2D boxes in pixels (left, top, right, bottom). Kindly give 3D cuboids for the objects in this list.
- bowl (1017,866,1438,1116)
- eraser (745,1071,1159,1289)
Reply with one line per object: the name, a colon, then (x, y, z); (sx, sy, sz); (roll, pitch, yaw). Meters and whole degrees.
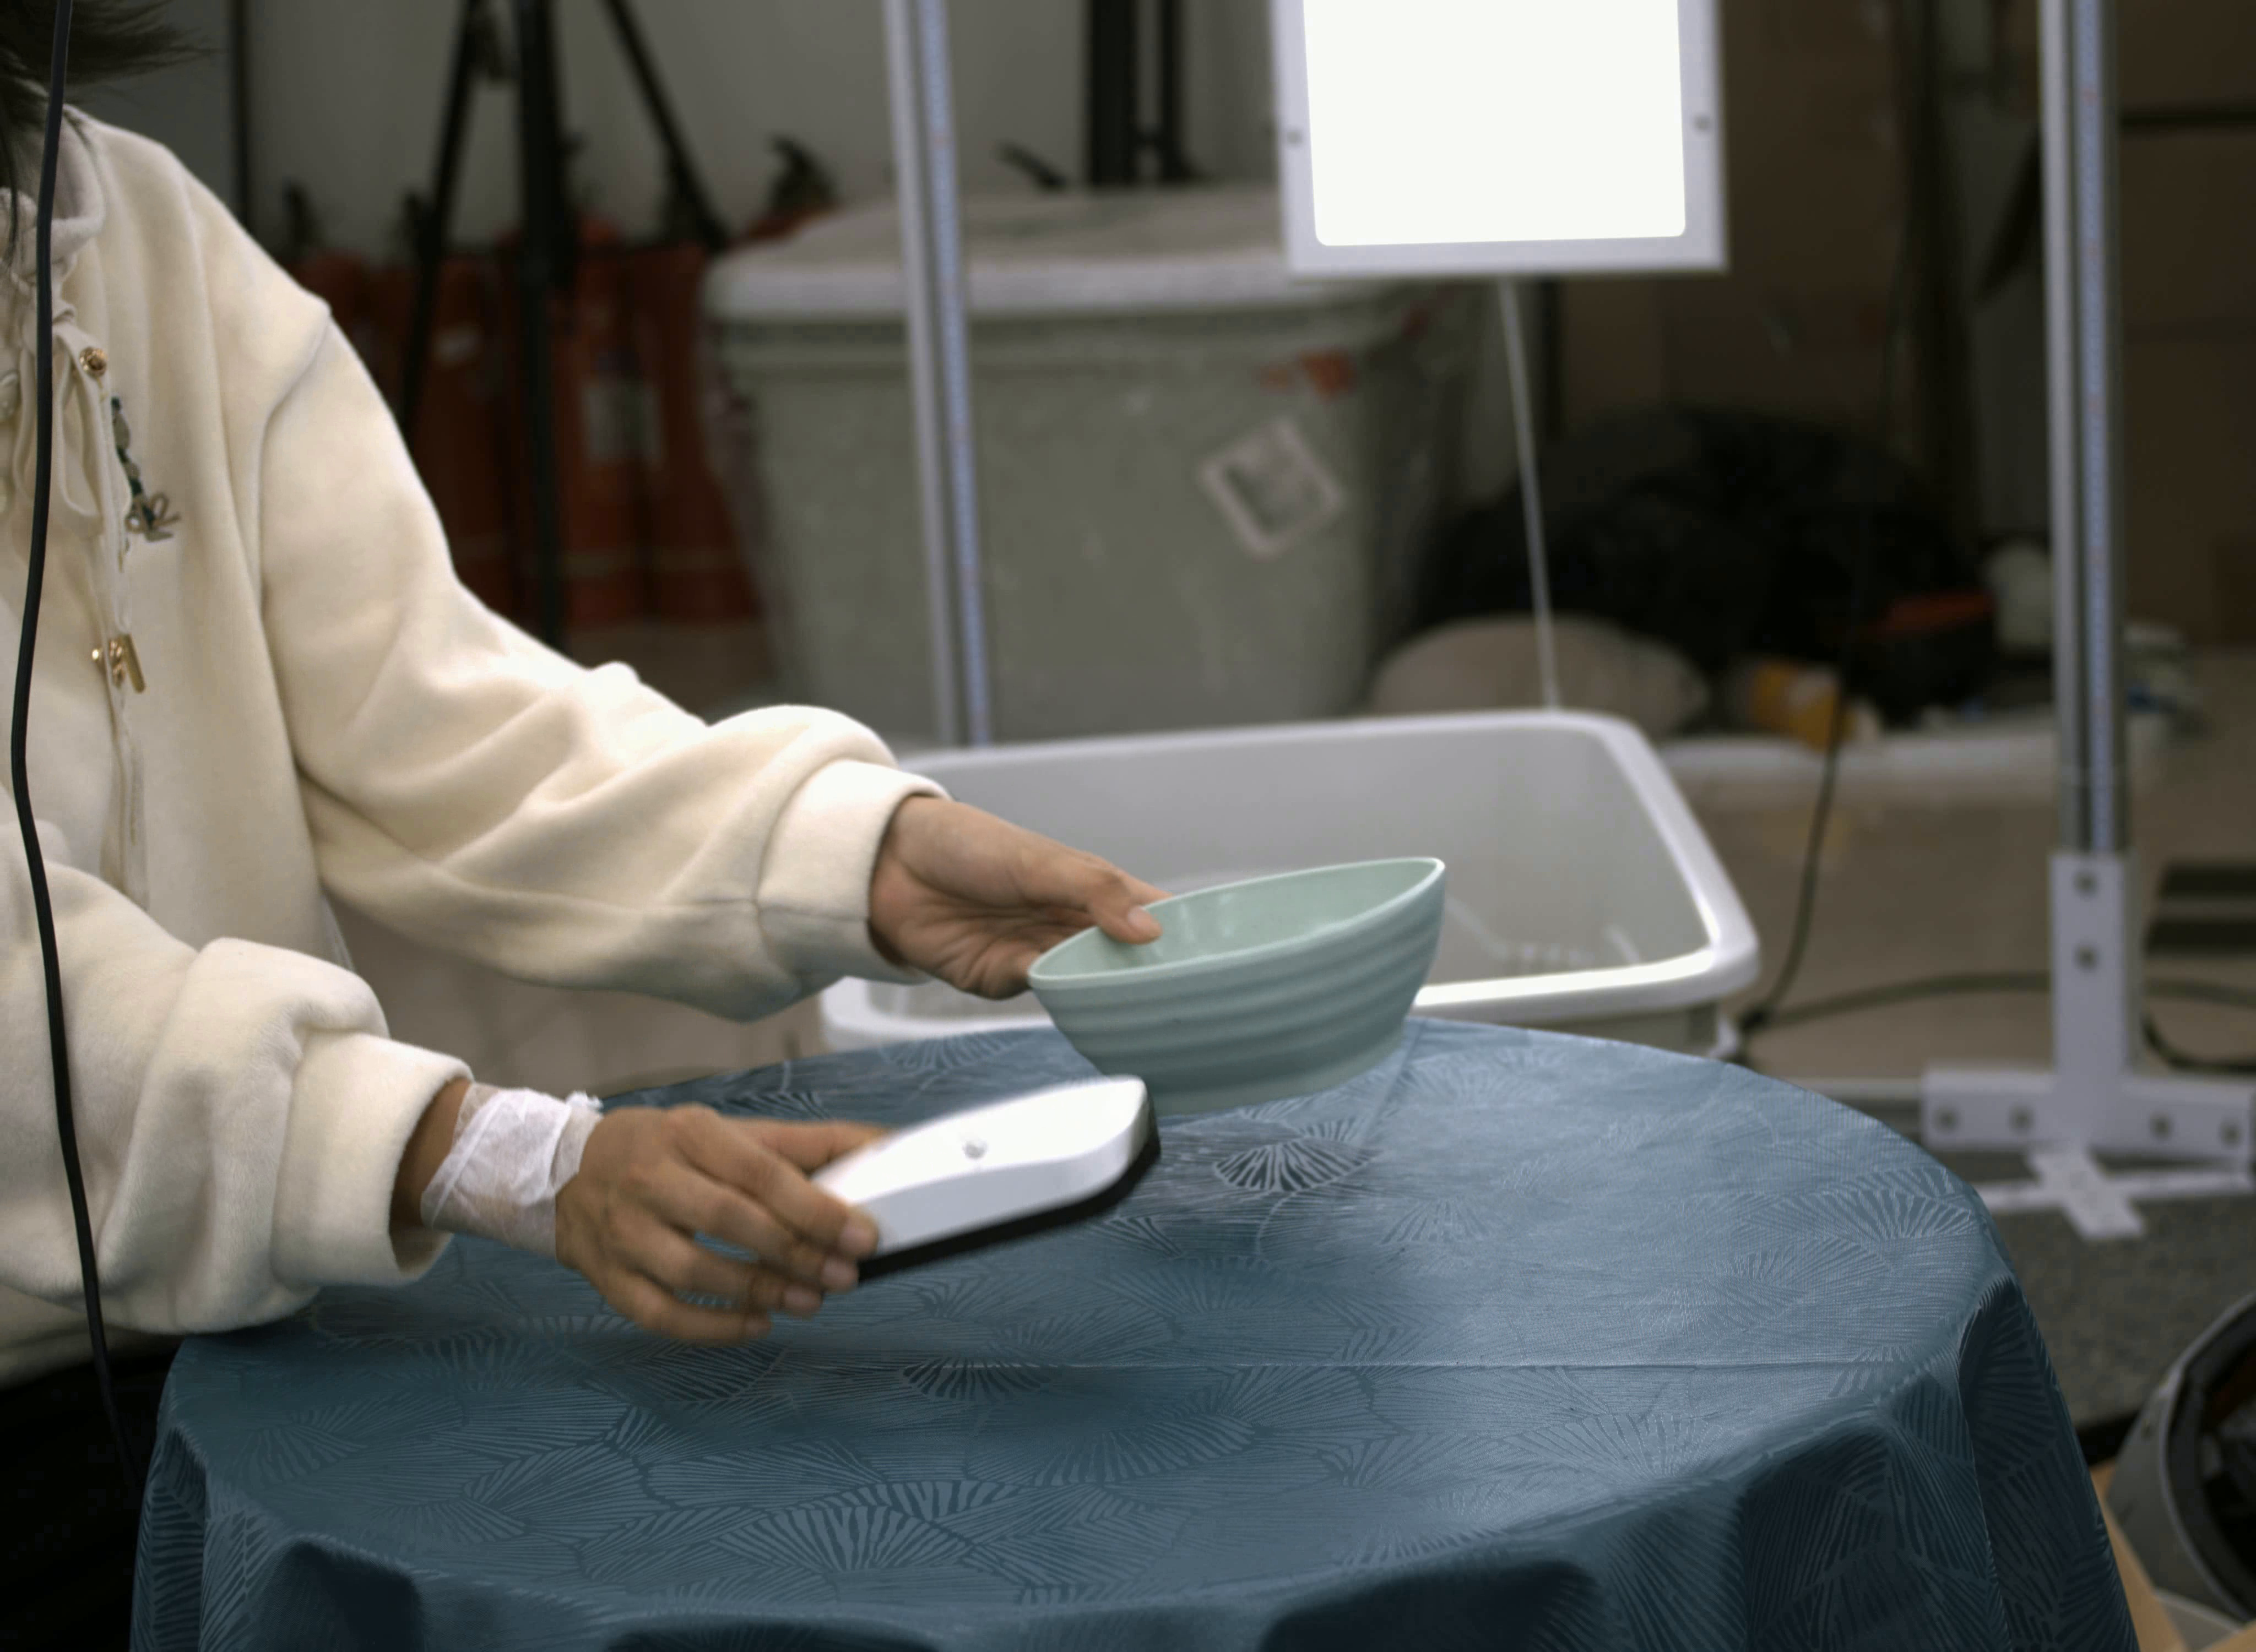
bowl: (0.040, 0.059, 1.879); (0.151, 0.059, 0.151); (-14, 6, 0)
eraser: (-0.055, 0.108, 1.724); (0.133, 0.034, 0.062); (-17, 13, 27)
